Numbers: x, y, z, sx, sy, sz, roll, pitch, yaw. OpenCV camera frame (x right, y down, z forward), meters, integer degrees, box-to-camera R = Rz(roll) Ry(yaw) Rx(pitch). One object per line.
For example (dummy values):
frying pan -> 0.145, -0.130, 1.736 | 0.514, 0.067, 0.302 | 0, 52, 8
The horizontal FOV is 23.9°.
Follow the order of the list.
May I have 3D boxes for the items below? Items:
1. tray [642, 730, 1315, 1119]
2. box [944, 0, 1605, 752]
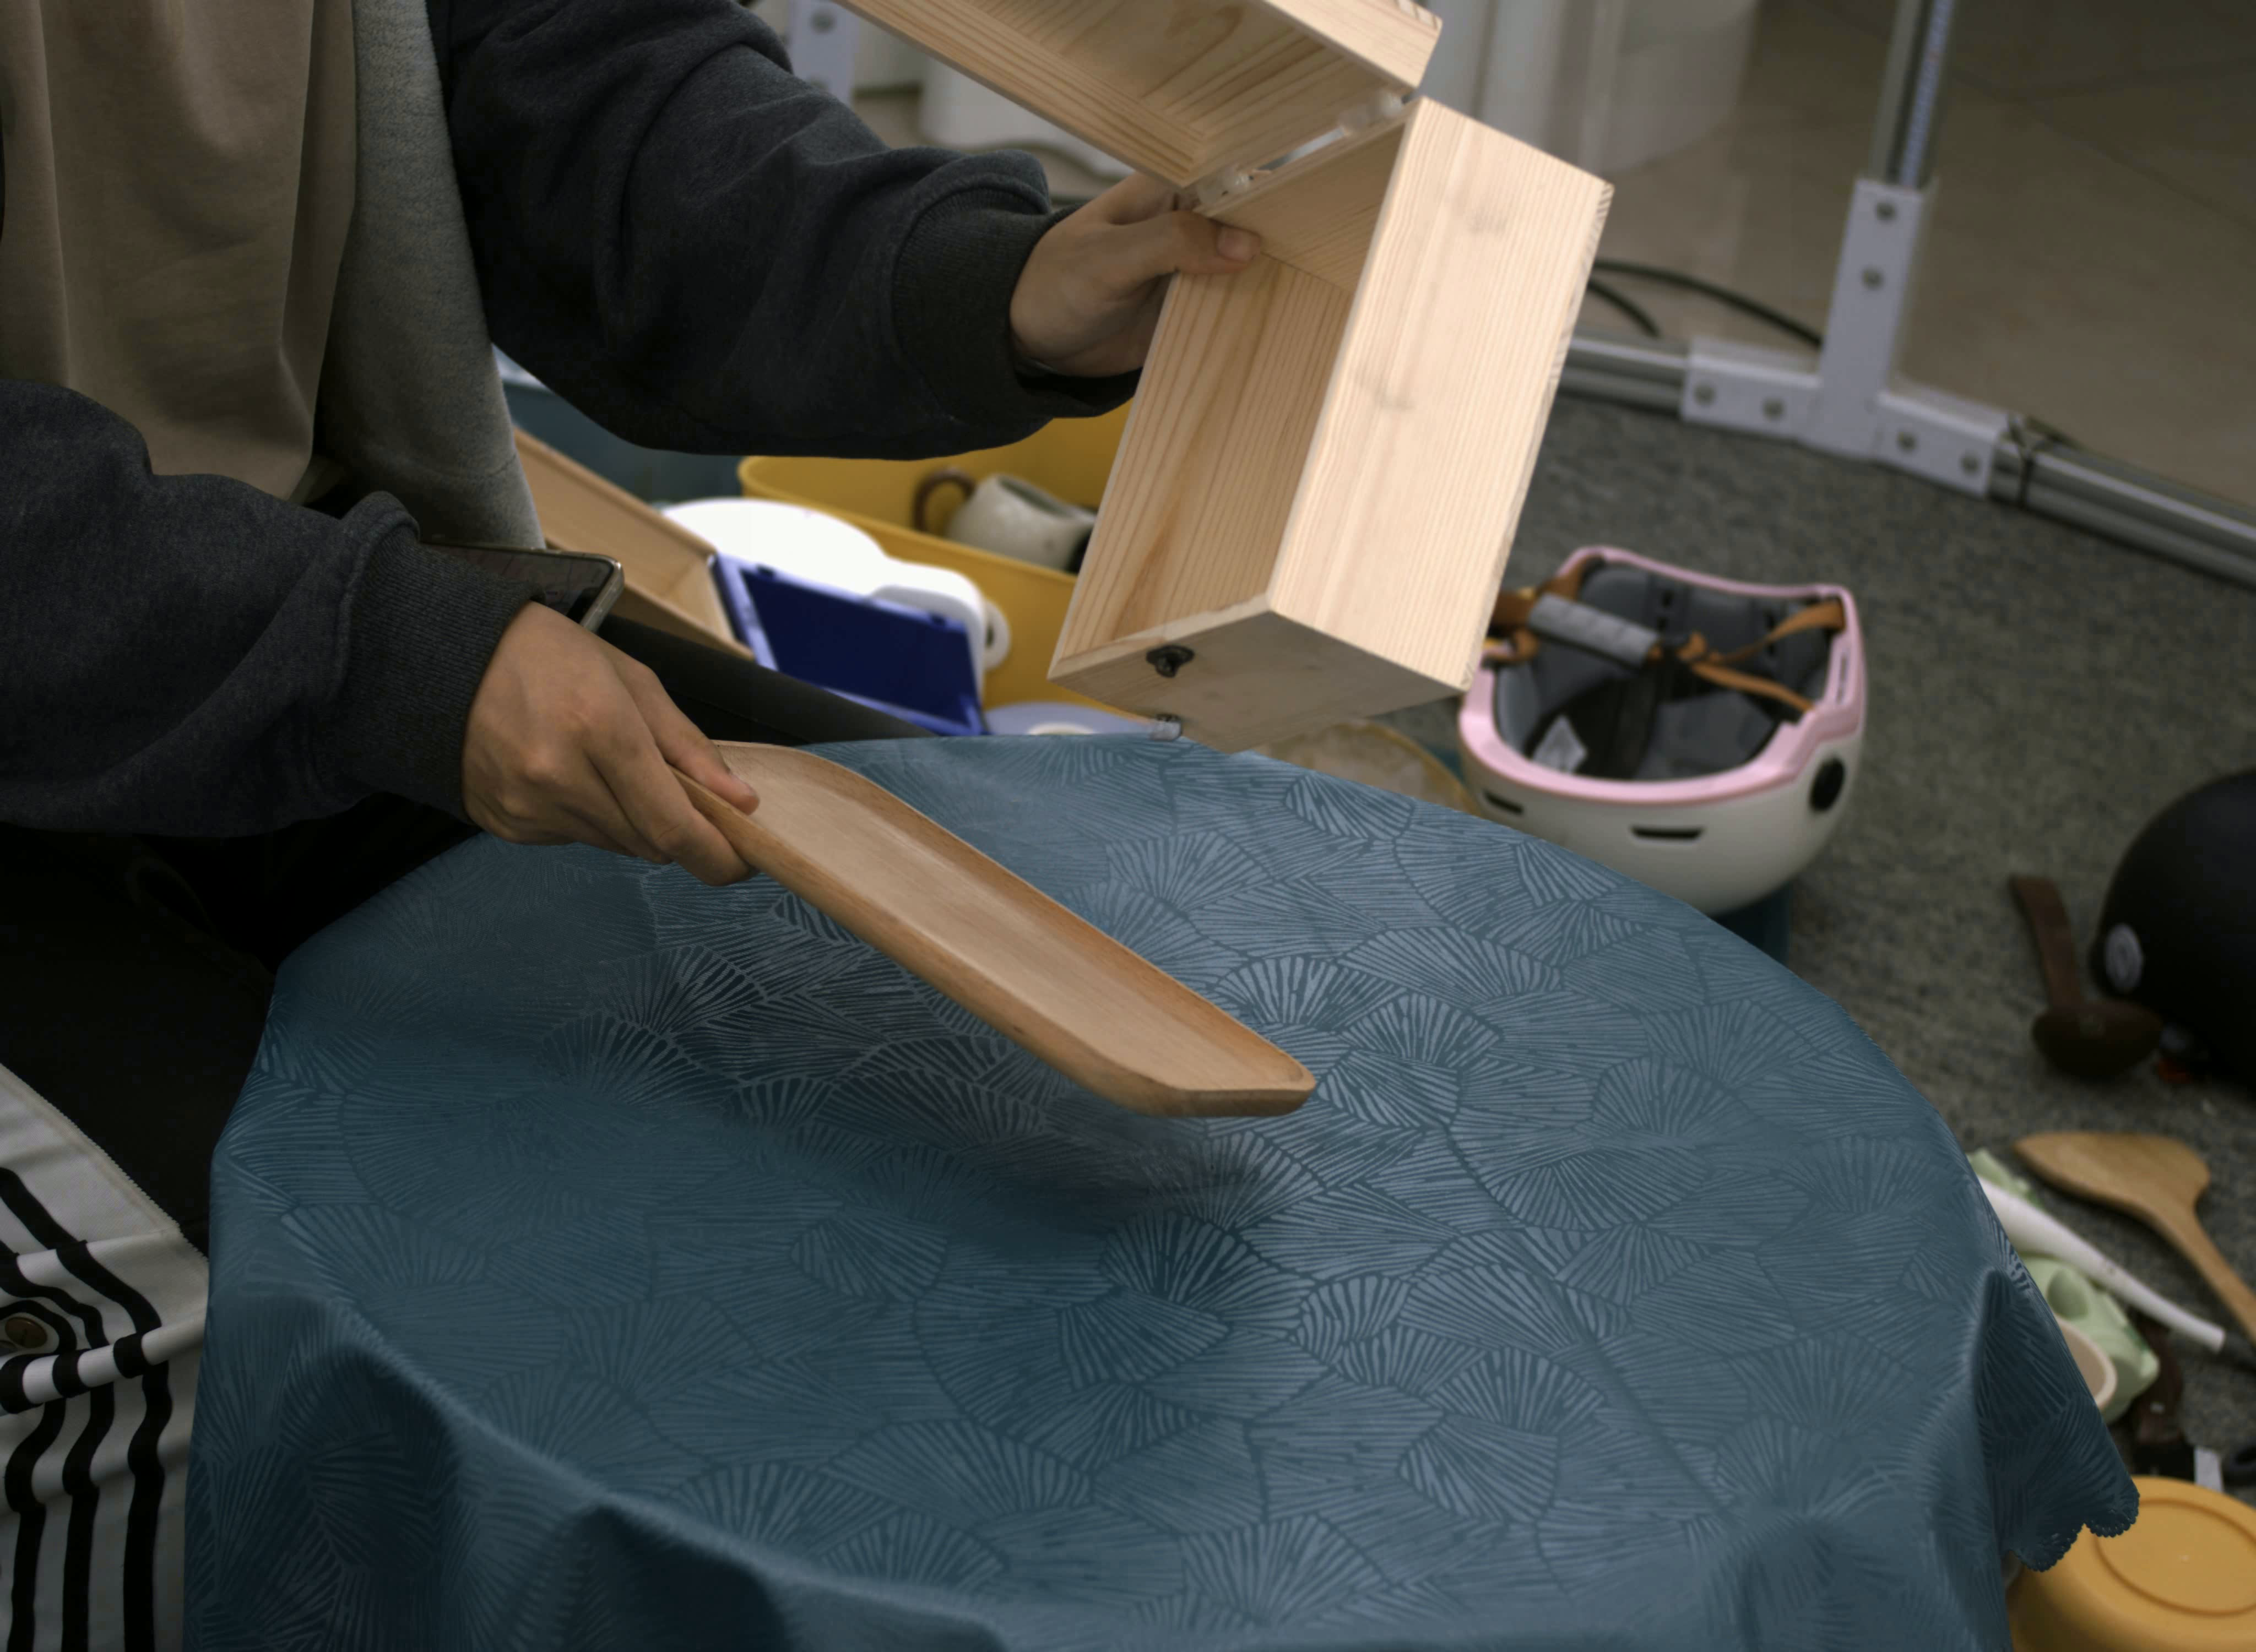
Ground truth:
tray -> -0.054, 0.034, 1.826 | 0.252, 0.023, 0.129 | 32, 12, 30
box -> -0.003, -0.195, 1.759 | 0.251, 0.266, 0.182 | 23, -17, -22
